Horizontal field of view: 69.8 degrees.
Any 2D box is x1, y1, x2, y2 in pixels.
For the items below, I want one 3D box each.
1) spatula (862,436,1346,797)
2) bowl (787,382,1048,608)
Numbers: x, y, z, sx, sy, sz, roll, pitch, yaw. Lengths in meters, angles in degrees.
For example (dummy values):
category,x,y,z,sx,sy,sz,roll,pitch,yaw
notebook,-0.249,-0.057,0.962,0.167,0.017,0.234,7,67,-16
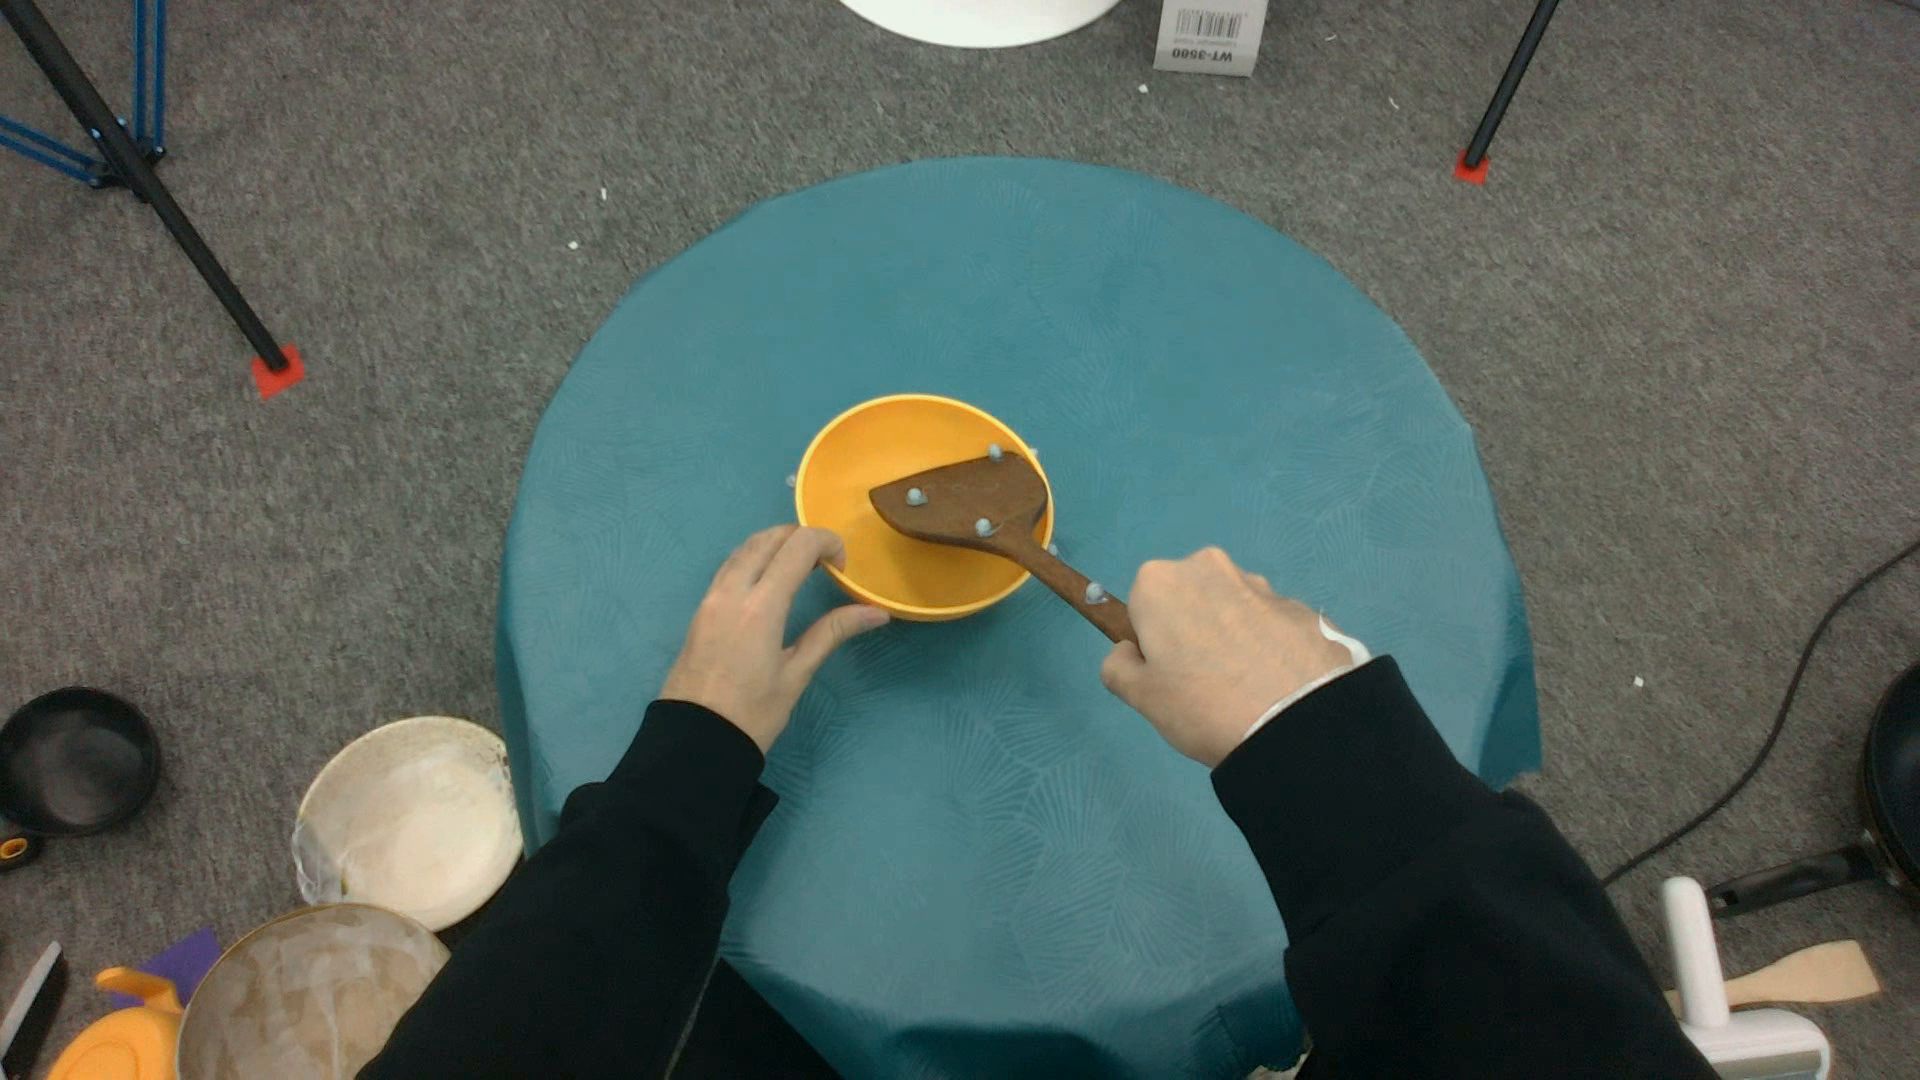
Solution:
category,x,y,z,sx,sy,sz,roll,pitch,yaw
spatula,0.054,0.017,0.630,0.096,0.016,0.386,-16,25,-17
bowl,-0.026,-0.016,0.786,0.145,0.060,0.146,3,59,-6
